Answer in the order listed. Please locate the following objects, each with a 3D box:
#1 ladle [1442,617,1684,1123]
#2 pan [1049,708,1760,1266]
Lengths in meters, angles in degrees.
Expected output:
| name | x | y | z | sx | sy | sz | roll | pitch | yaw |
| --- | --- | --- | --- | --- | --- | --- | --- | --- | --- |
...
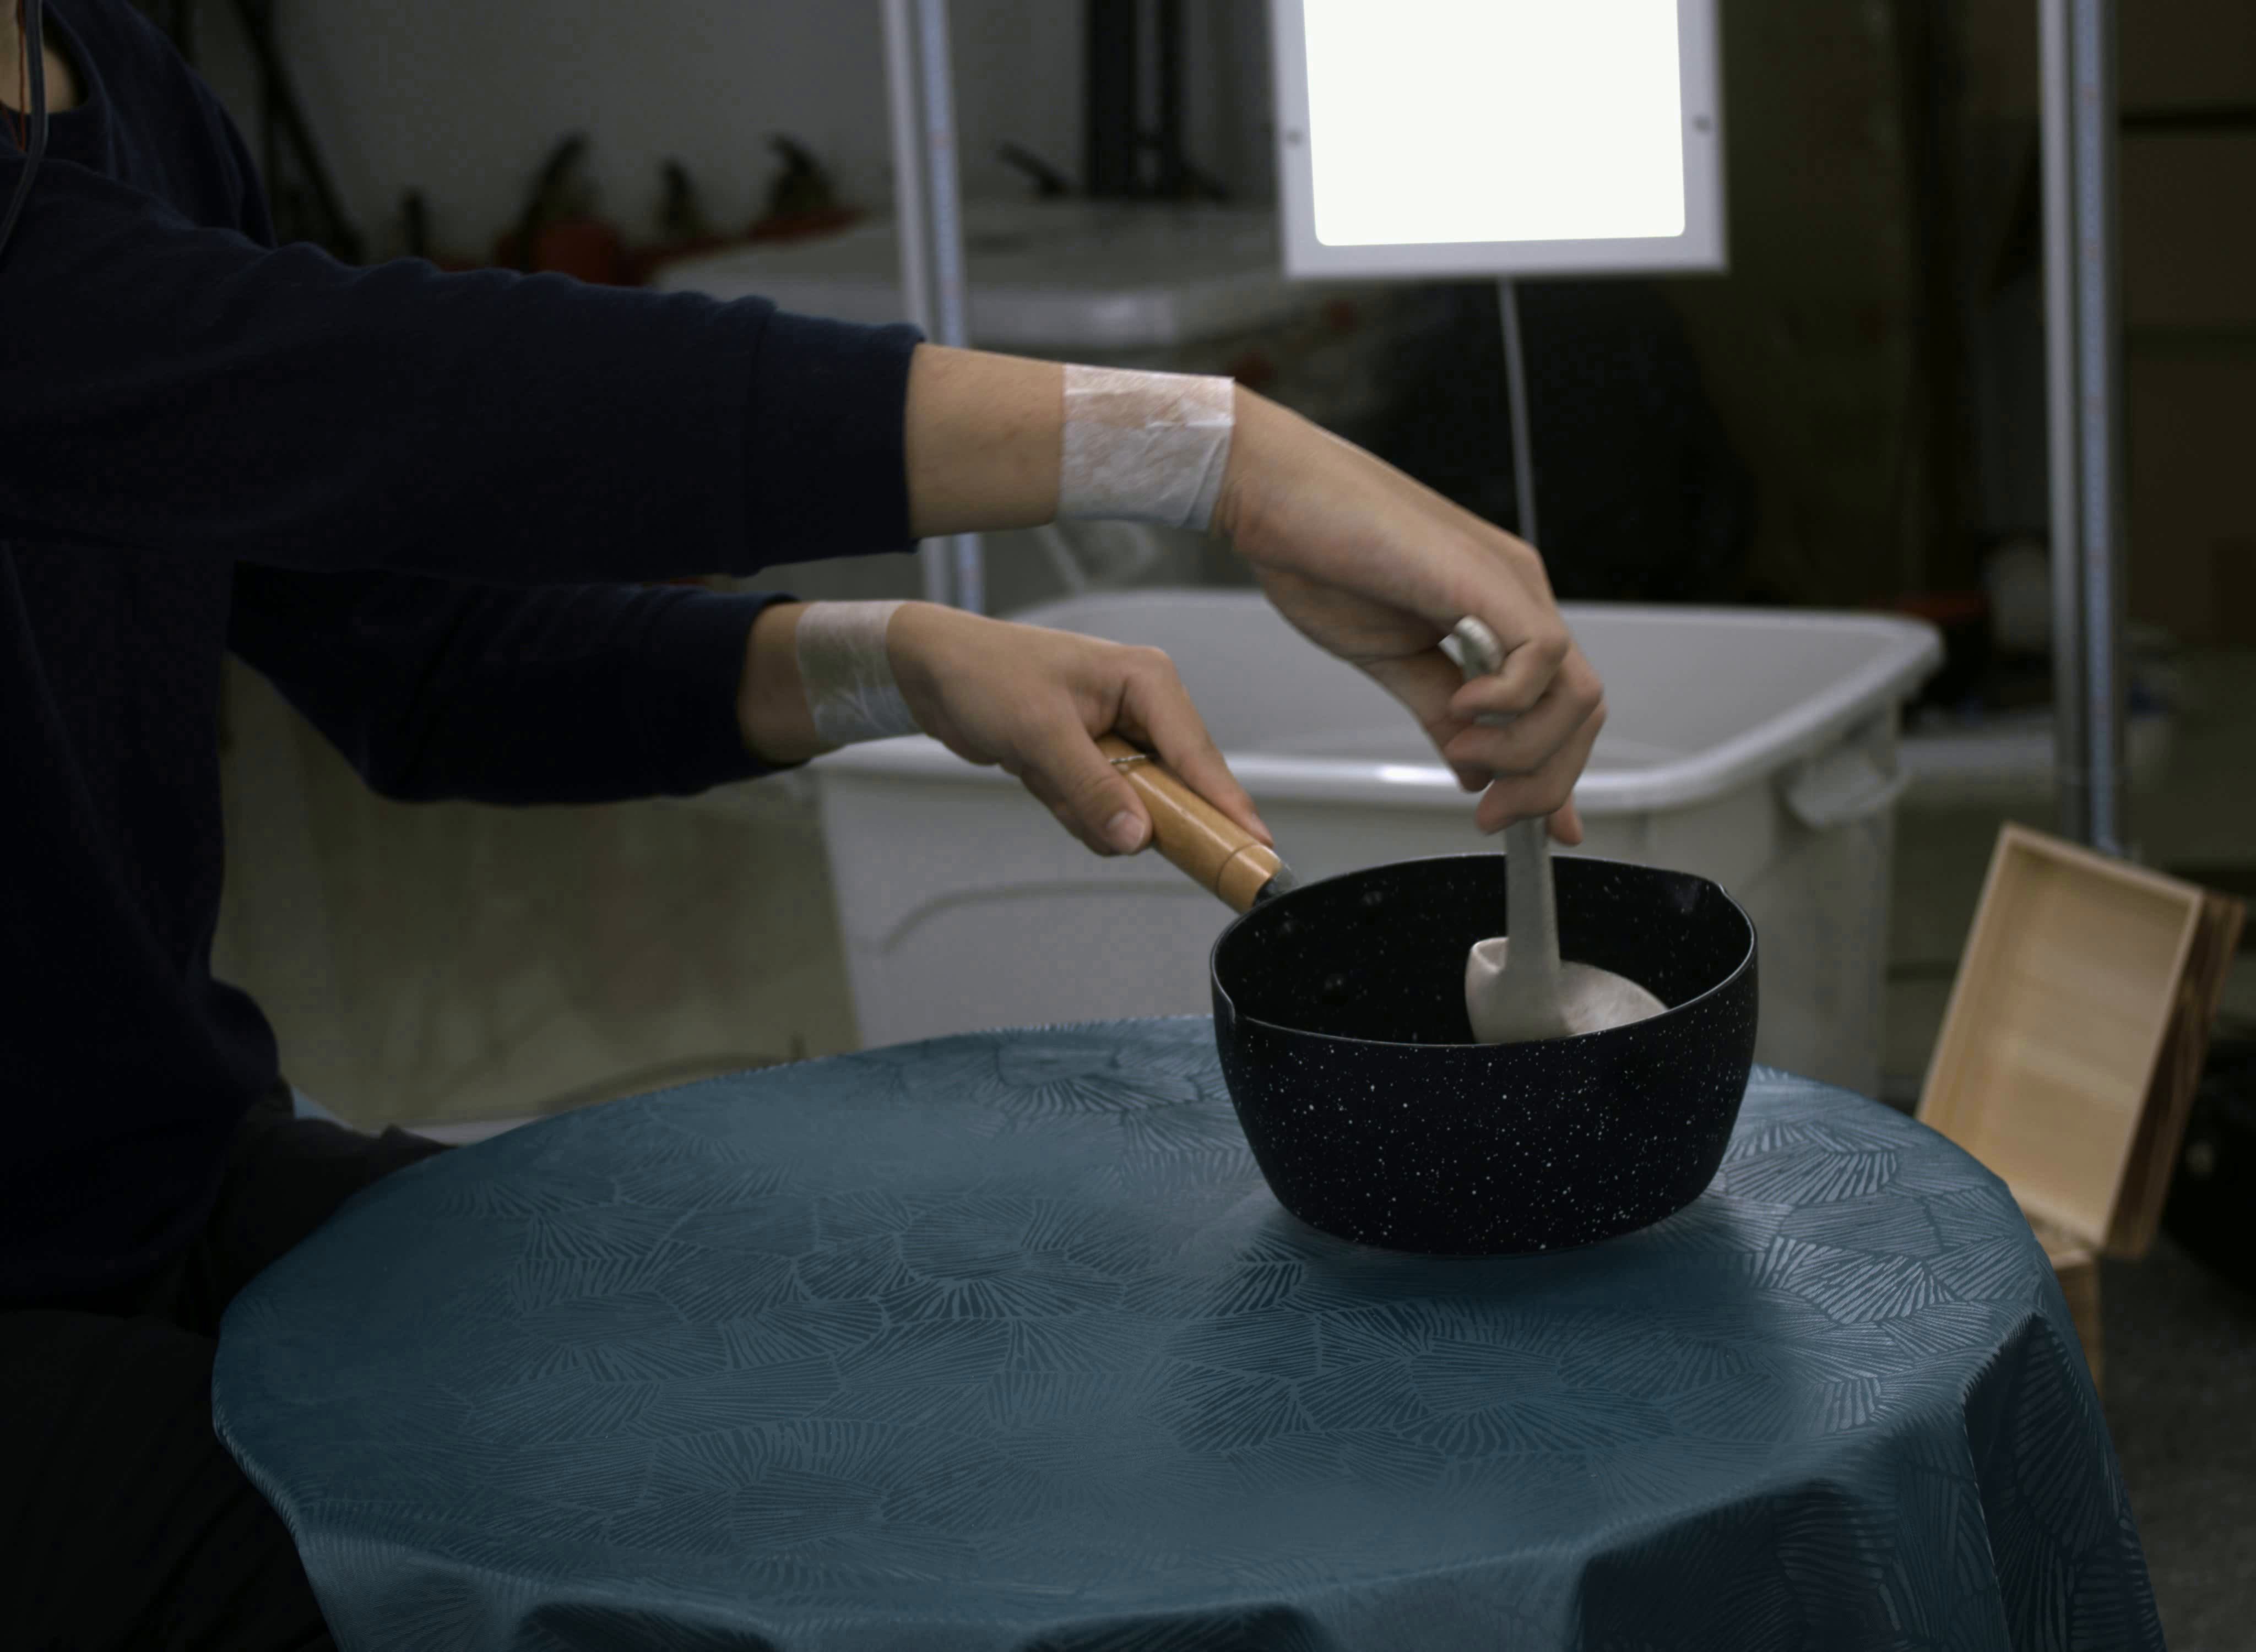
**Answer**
| name | x | y | z | sx | sy | sz | roll | pitch | yaw |
| --- | --- | --- | --- | --- | --- | --- | --- | --- | --- |
| ladle | 0.136 | 0.003 | 1.714 | 0.068 | 0.275 | 0.090 | -33 | 57 | -15 |
| pan | 0.075 | 0.049 | 1.909 | 0.203 | 0.108 | 0.349 | -18 | 24 | -30 |
